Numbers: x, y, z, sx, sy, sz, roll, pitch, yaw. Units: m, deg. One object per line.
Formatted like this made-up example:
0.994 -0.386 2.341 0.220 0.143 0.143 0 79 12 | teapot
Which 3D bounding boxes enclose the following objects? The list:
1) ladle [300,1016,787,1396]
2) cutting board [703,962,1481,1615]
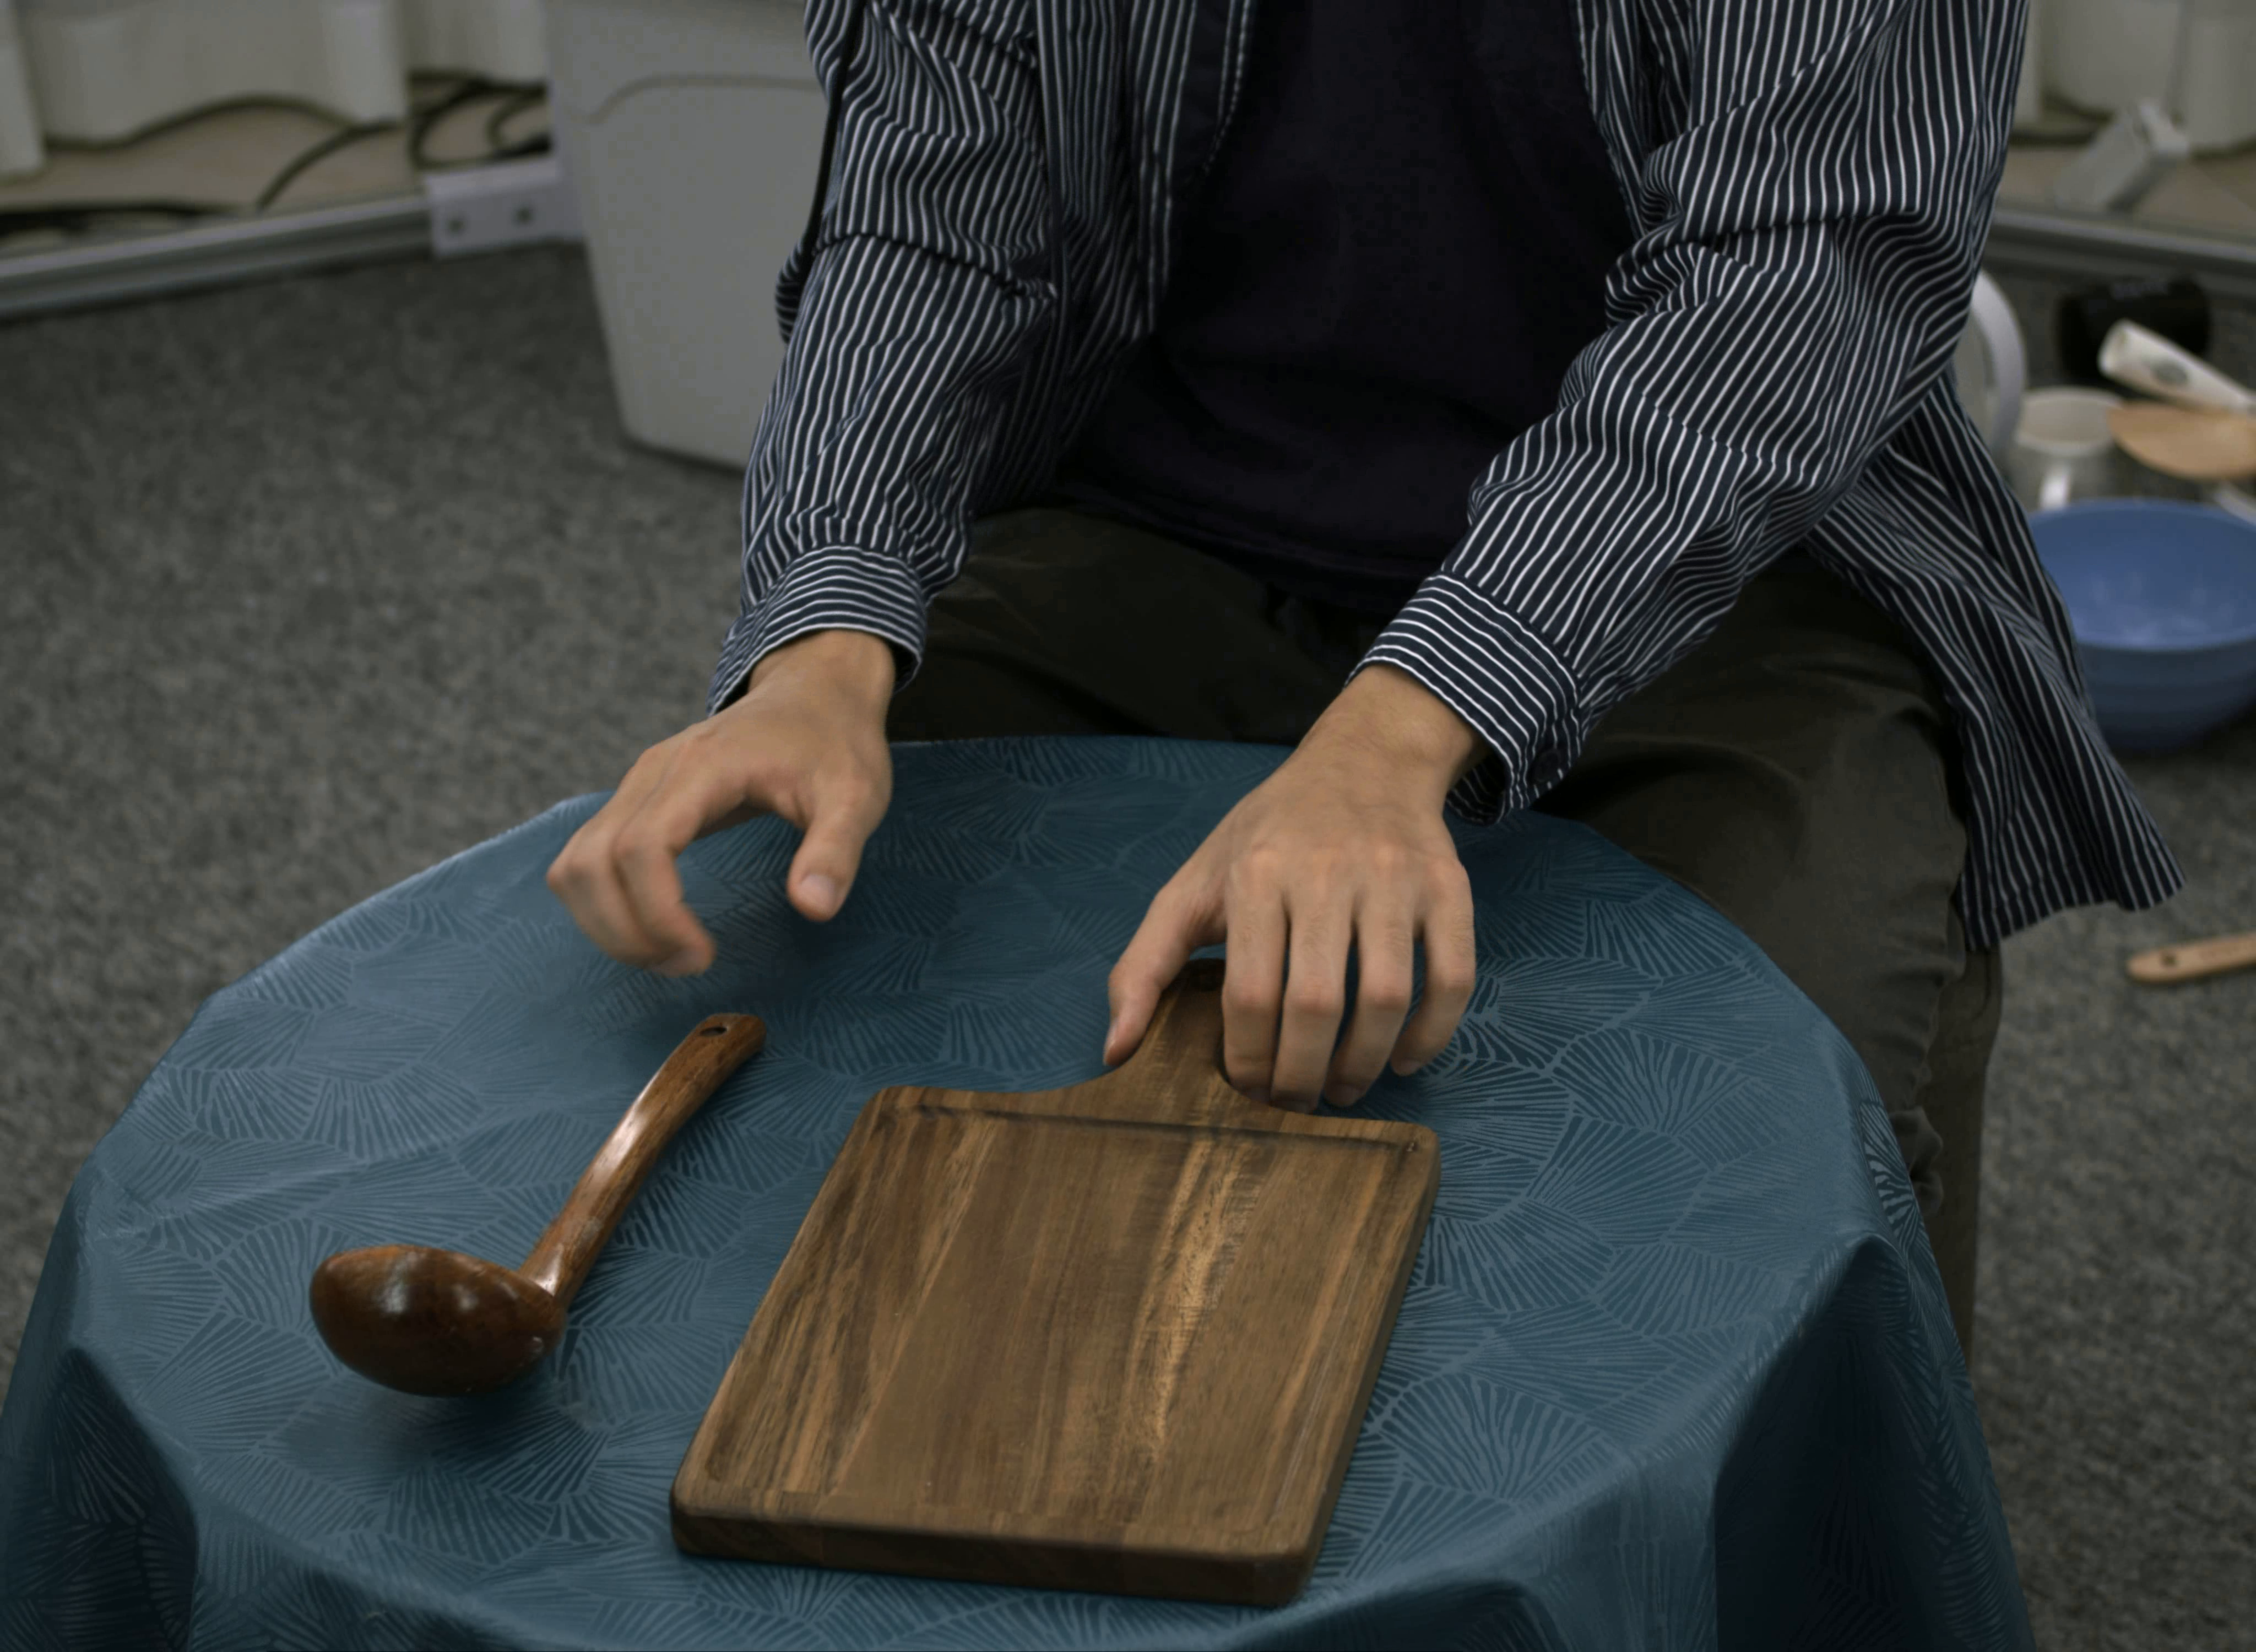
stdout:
-0.182 0.104 1.827 0.081 0.076 0.279 3 28 20 | ladle
0.005 0.137 1.803 0.199 0.023 0.358 4 28 13 | cutting board
